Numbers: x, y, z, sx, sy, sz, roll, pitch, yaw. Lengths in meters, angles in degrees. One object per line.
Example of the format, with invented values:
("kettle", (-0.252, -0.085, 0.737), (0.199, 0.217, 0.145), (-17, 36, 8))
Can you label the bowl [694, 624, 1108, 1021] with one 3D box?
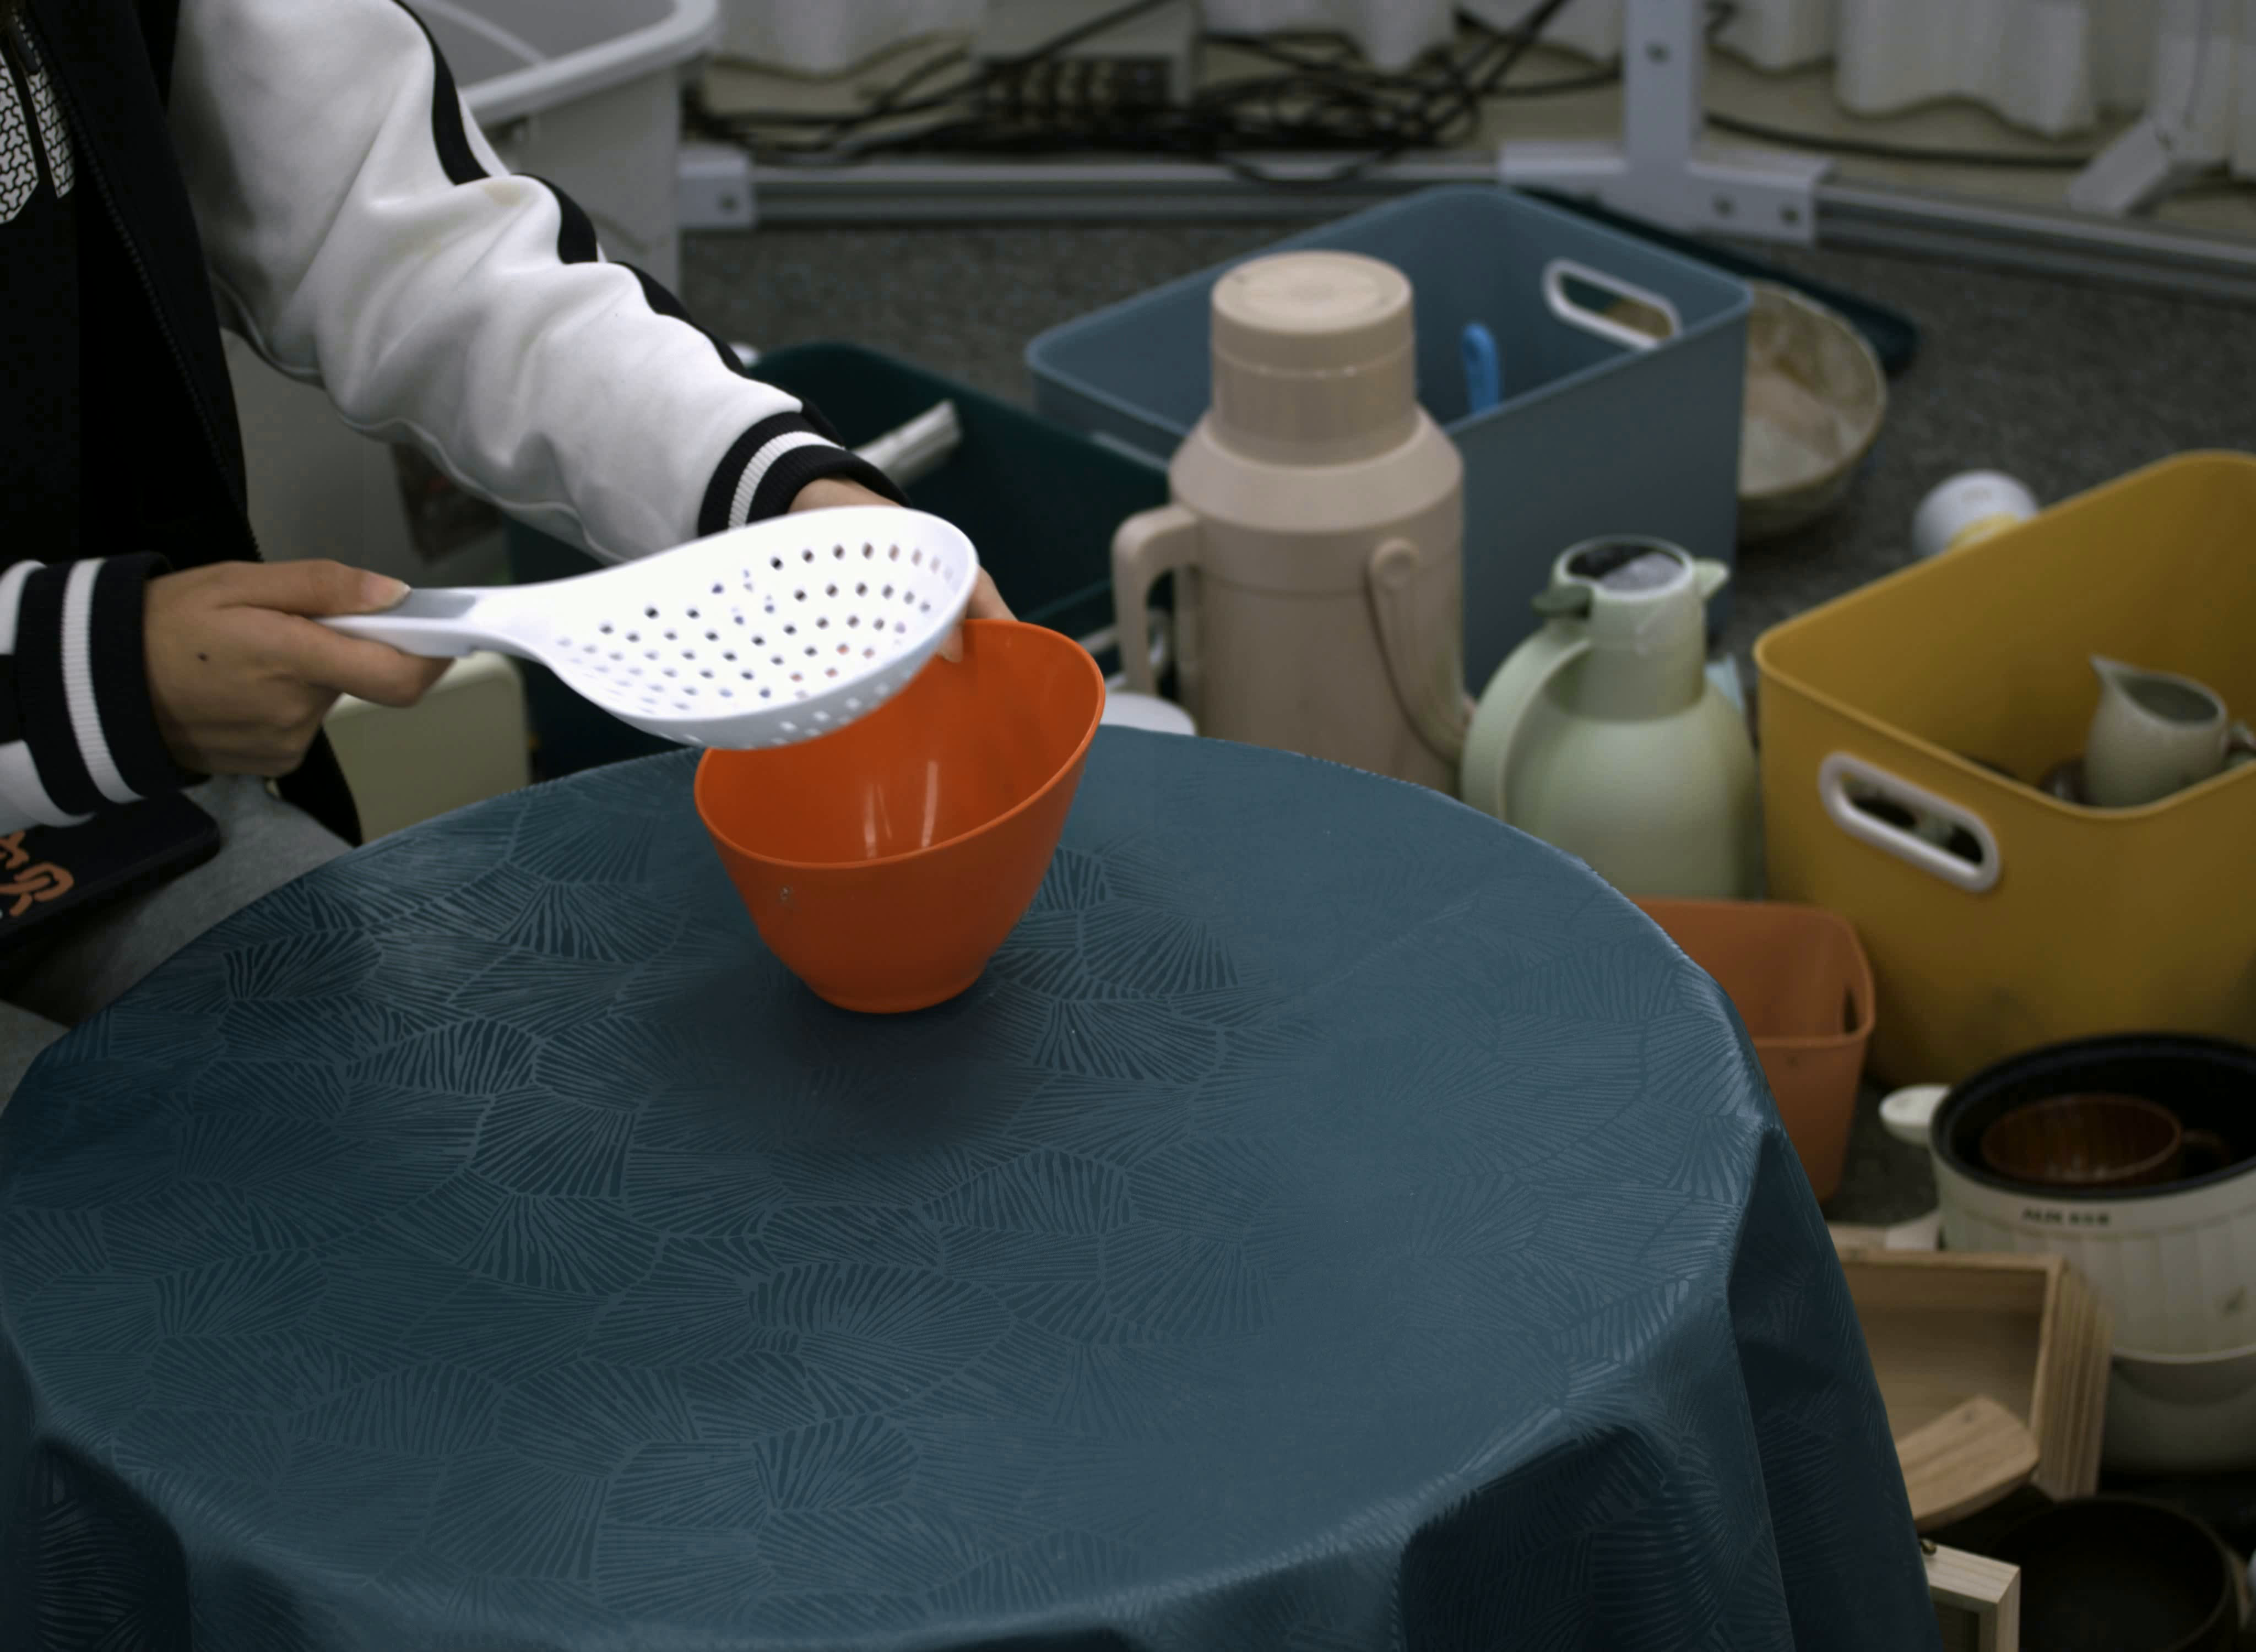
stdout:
("bowl", (-0.075, 0.006, 1.971), (0.147, 0.103, 0.150), (-4, 32, 3))

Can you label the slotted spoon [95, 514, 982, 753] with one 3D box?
("slotted spoon", (-0.205, -0.067, 1.889), (0.347, 0.045, 0.138), (7, 34, 27))
